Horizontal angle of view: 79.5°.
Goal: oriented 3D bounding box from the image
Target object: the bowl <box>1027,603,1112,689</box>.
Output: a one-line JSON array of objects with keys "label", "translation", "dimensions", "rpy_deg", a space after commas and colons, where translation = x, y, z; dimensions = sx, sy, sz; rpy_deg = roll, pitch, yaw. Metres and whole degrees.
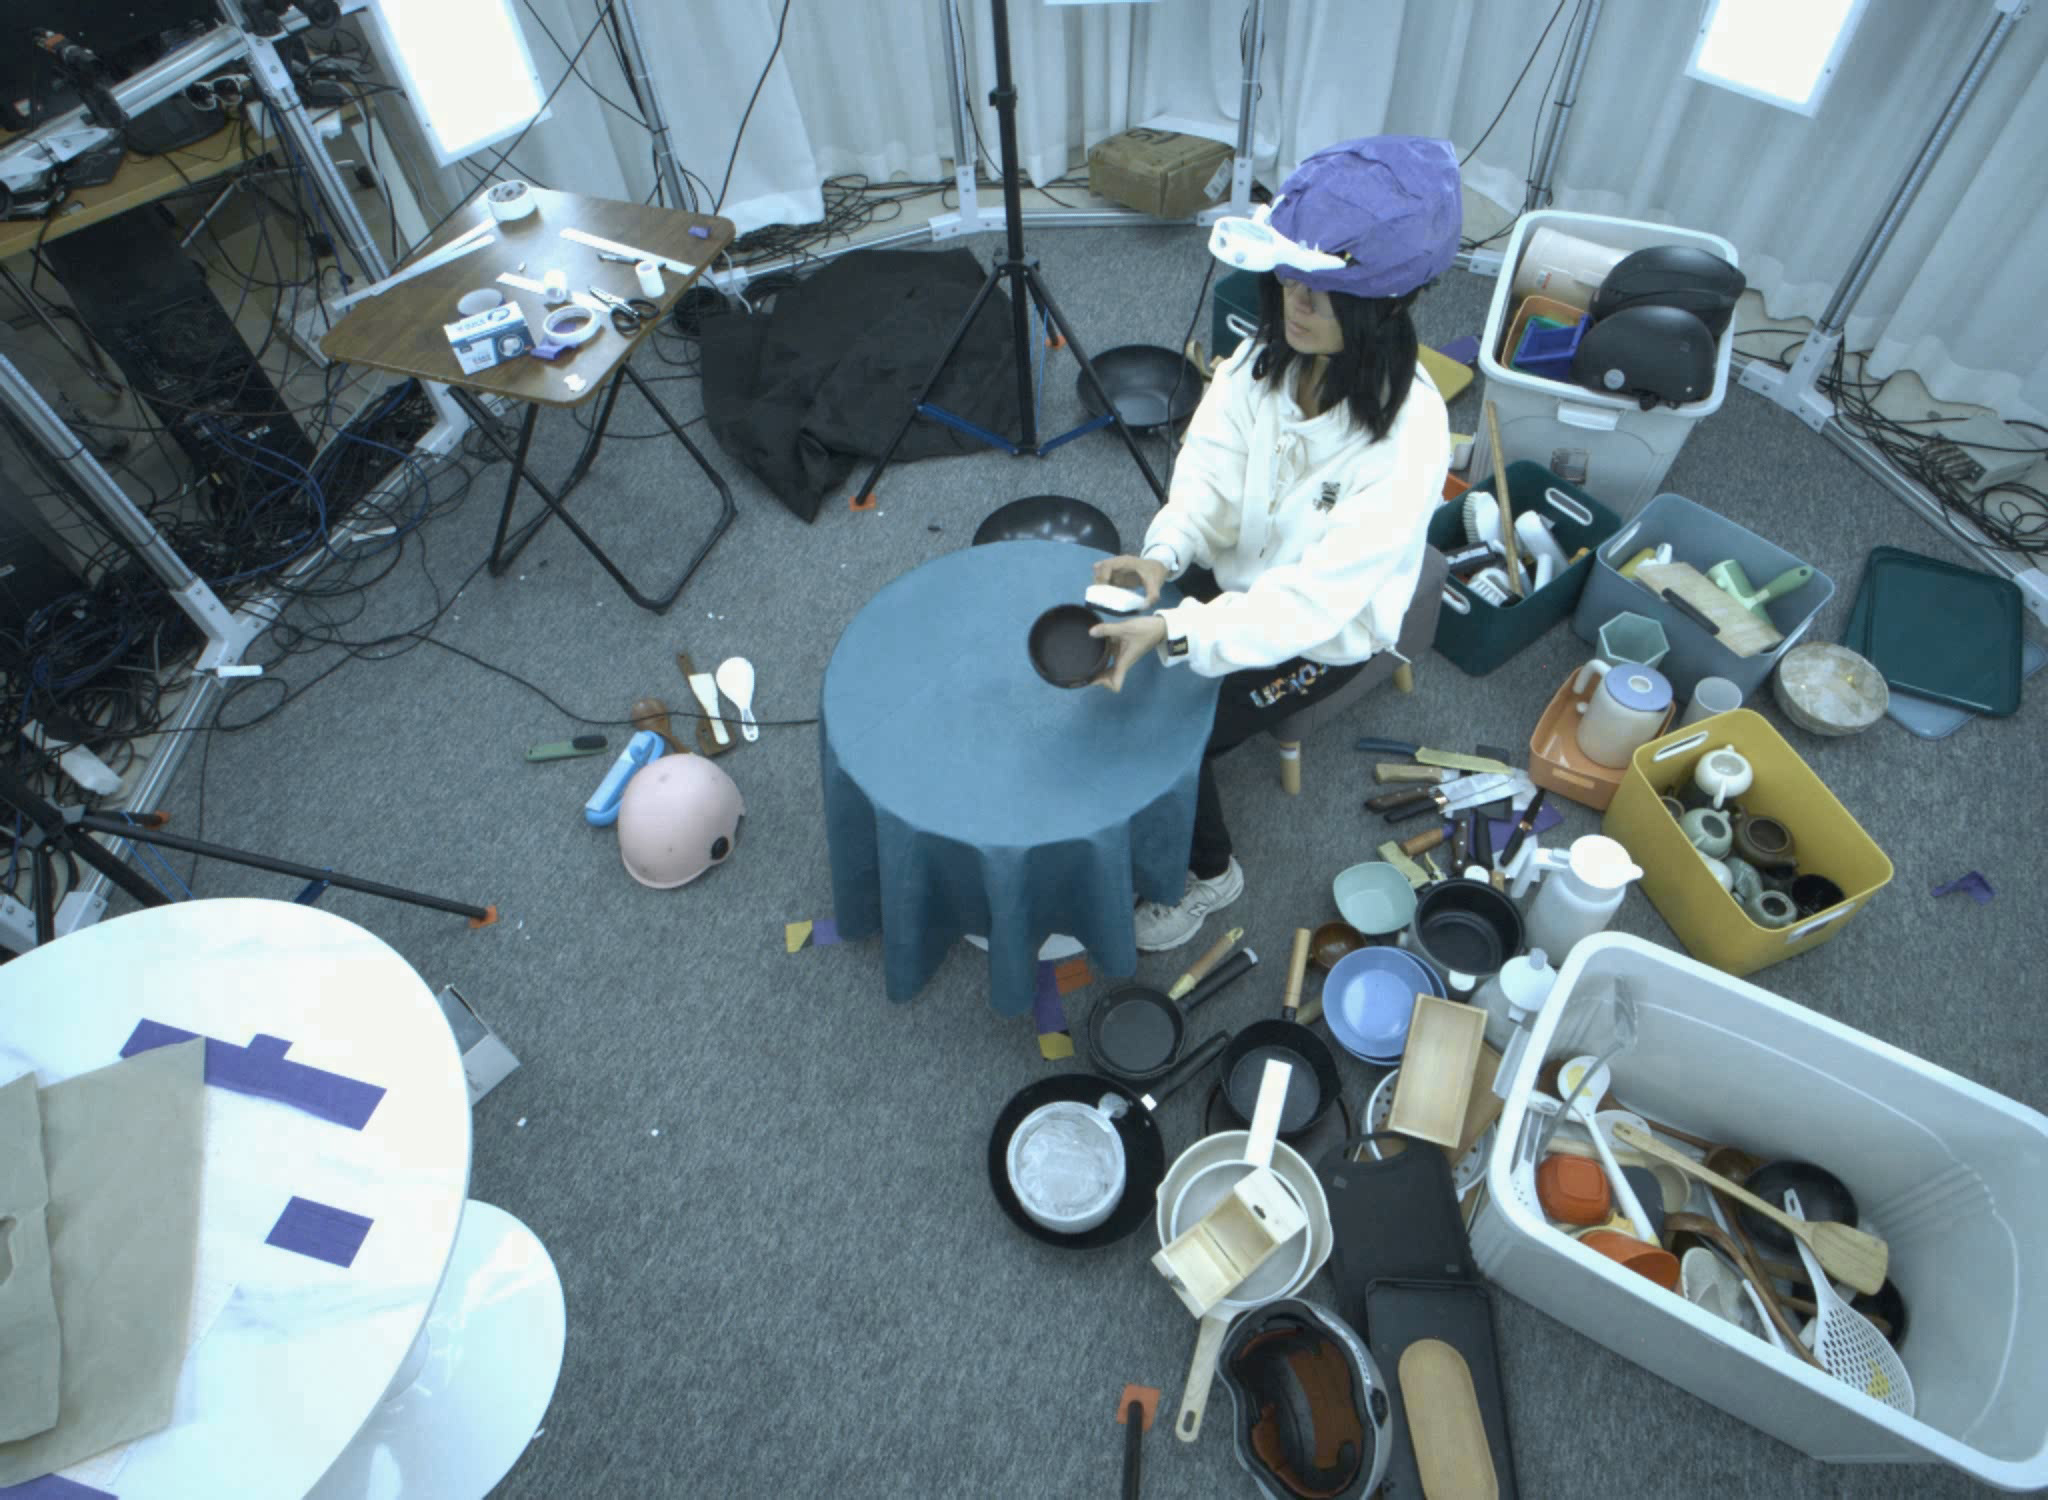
[{"label": "bowl", "translation": [0.065, -0.140, 1.723], "dimensions": [0.117, 0.070, 0.117], "rpy_deg": [-1, 75, 5]}]

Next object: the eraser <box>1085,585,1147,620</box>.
[{"label": "eraser", "translation": [0.132, -0.211, 1.745], "dimensions": [0.062, 0.034, 0.132], "rpy_deg": [21, 16, 15]}]
